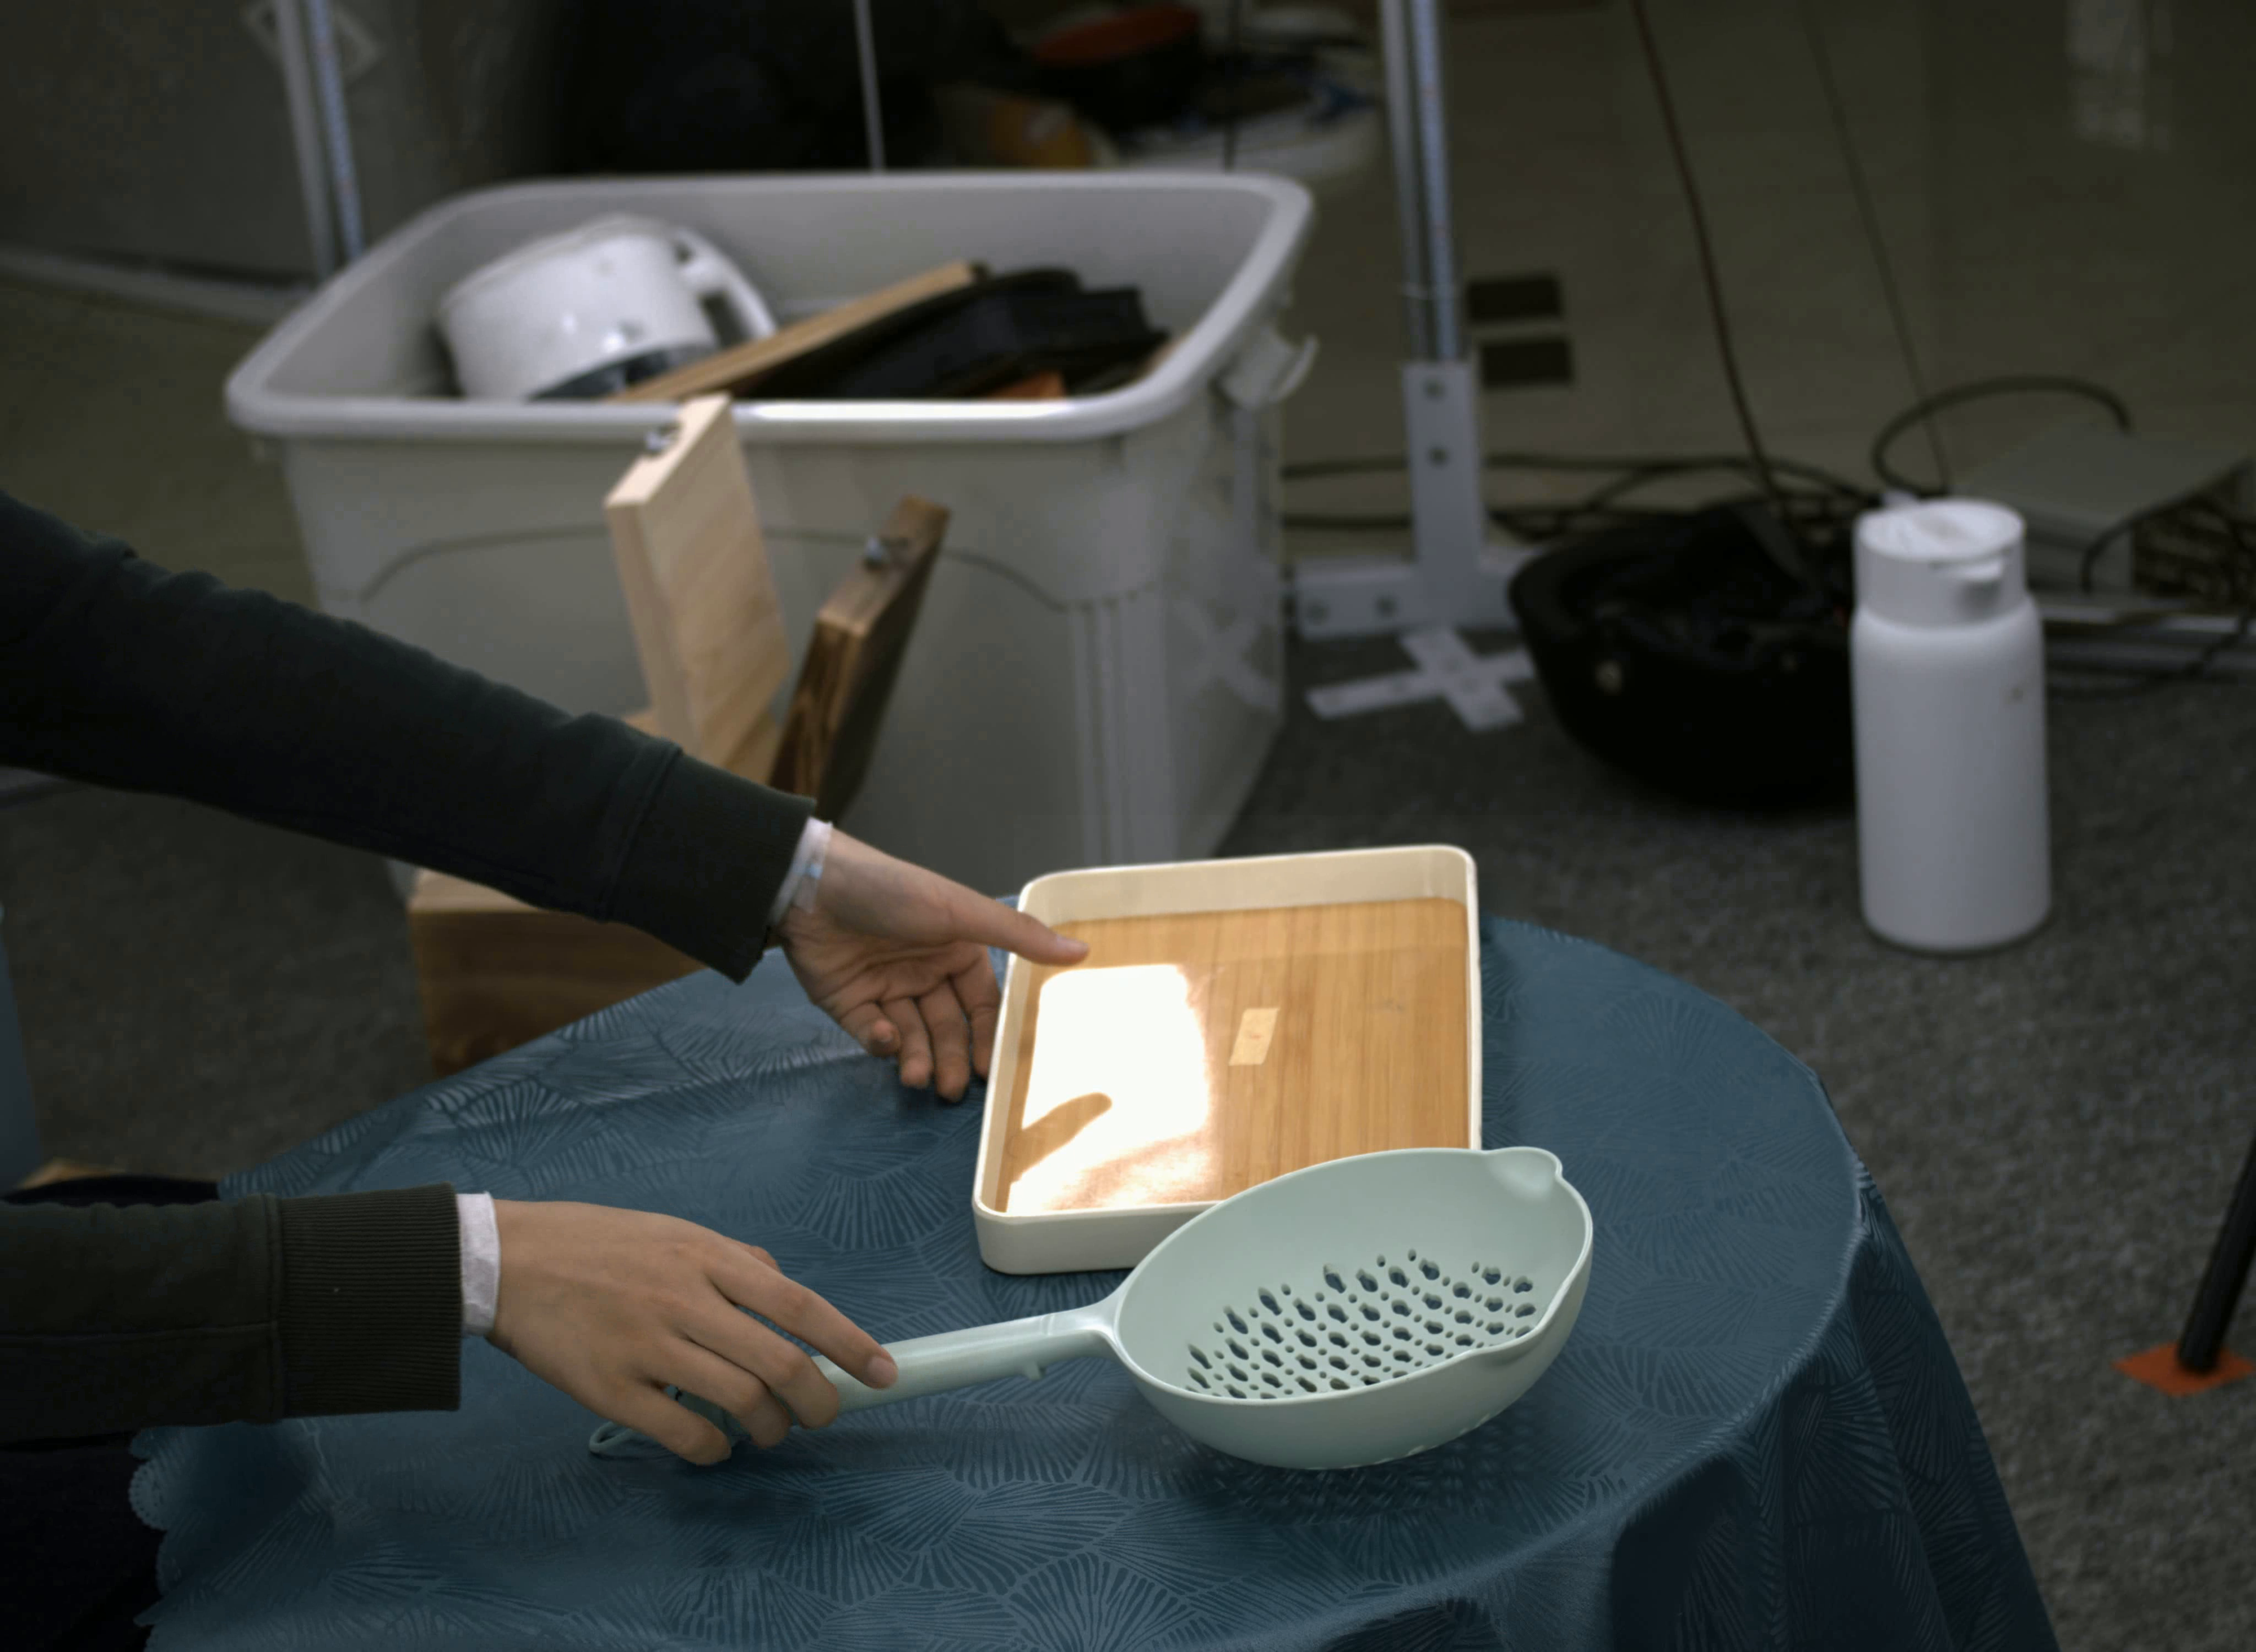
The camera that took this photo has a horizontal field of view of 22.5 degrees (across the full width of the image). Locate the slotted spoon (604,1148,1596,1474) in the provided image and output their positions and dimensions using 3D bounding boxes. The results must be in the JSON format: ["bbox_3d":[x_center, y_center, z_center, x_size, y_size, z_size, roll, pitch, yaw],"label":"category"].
[{"bbox_3d":[-0.014,0.183,1.985,0.358,0.076,0.167,-3,25,8],"label":"slotted spoon"}]

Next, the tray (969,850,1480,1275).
[{"bbox_3d":[0.043,0.089,2.220,0.191,0.028,0.296,-4,25,5],"label":"tray"}]
